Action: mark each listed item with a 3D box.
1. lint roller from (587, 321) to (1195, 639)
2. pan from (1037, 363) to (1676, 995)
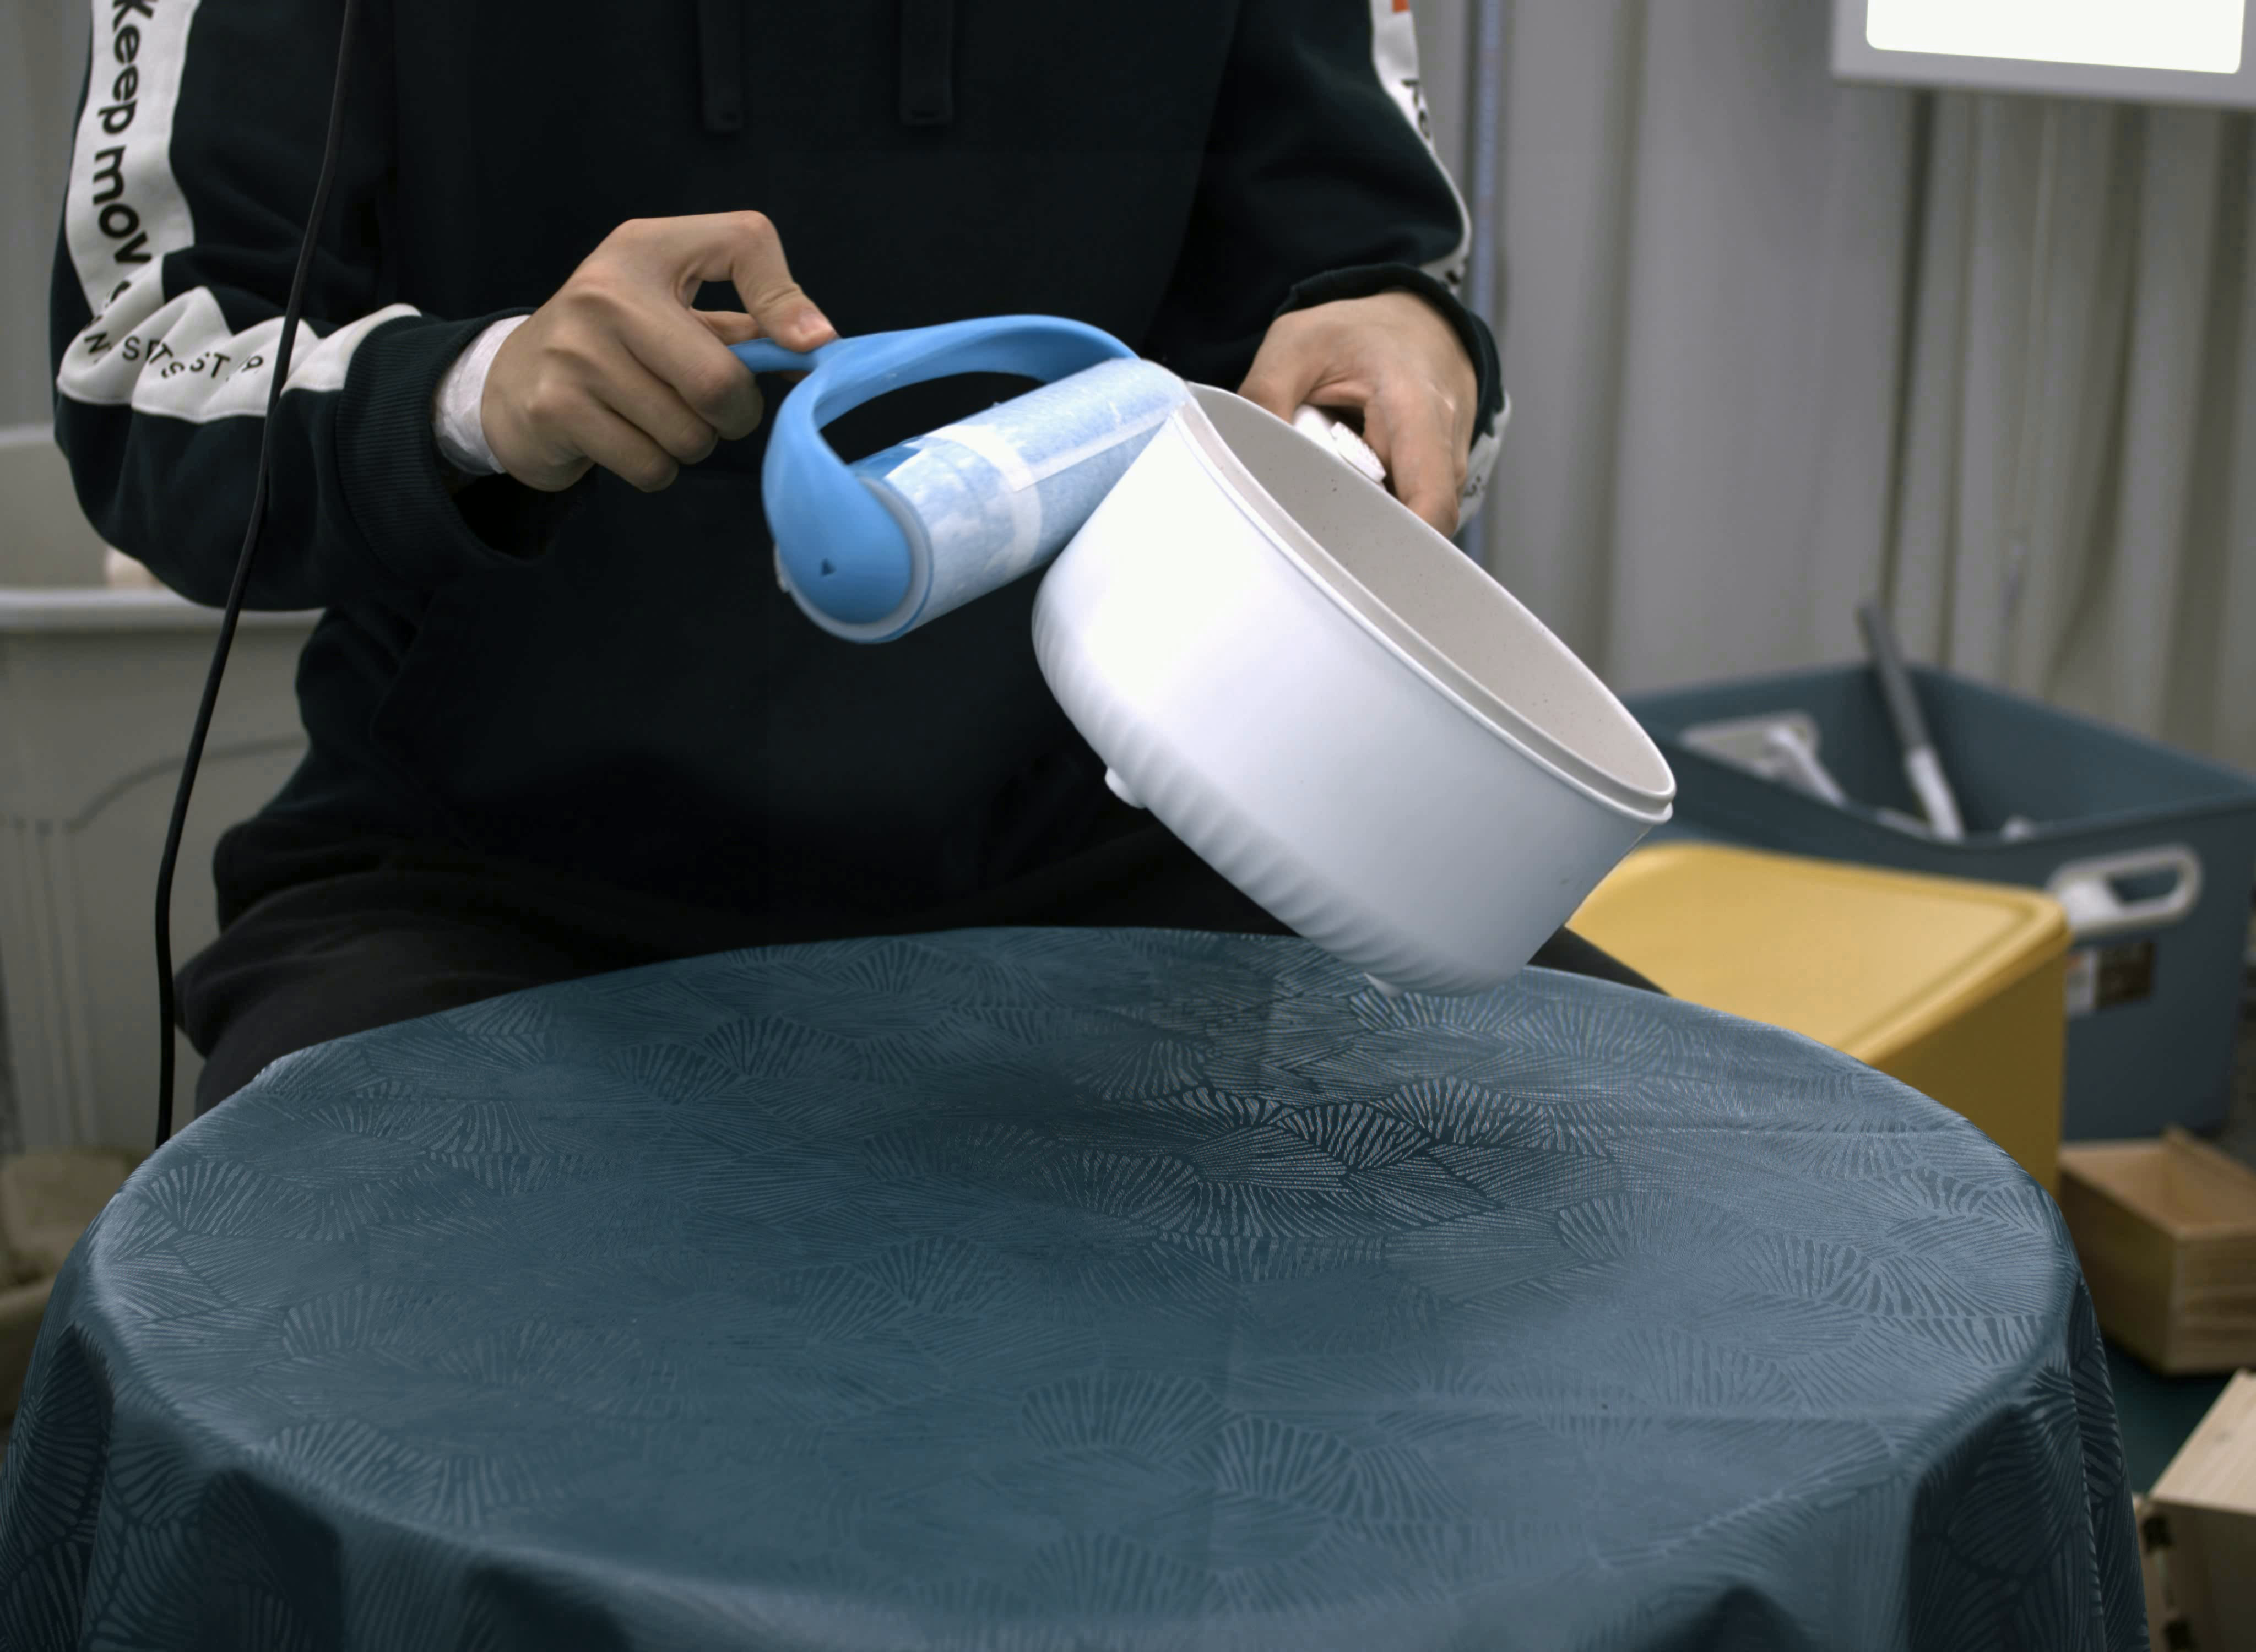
[{"bbox_3d":[-0.090,-0.122,1.668,0.178,0.068,0.229,18,22,18],"label":"lint roller"},{"bbox_3d":[0.058,-0.064,1.708,0.203,0.102,0.352,38,12,-17],"label":"pan"}]
